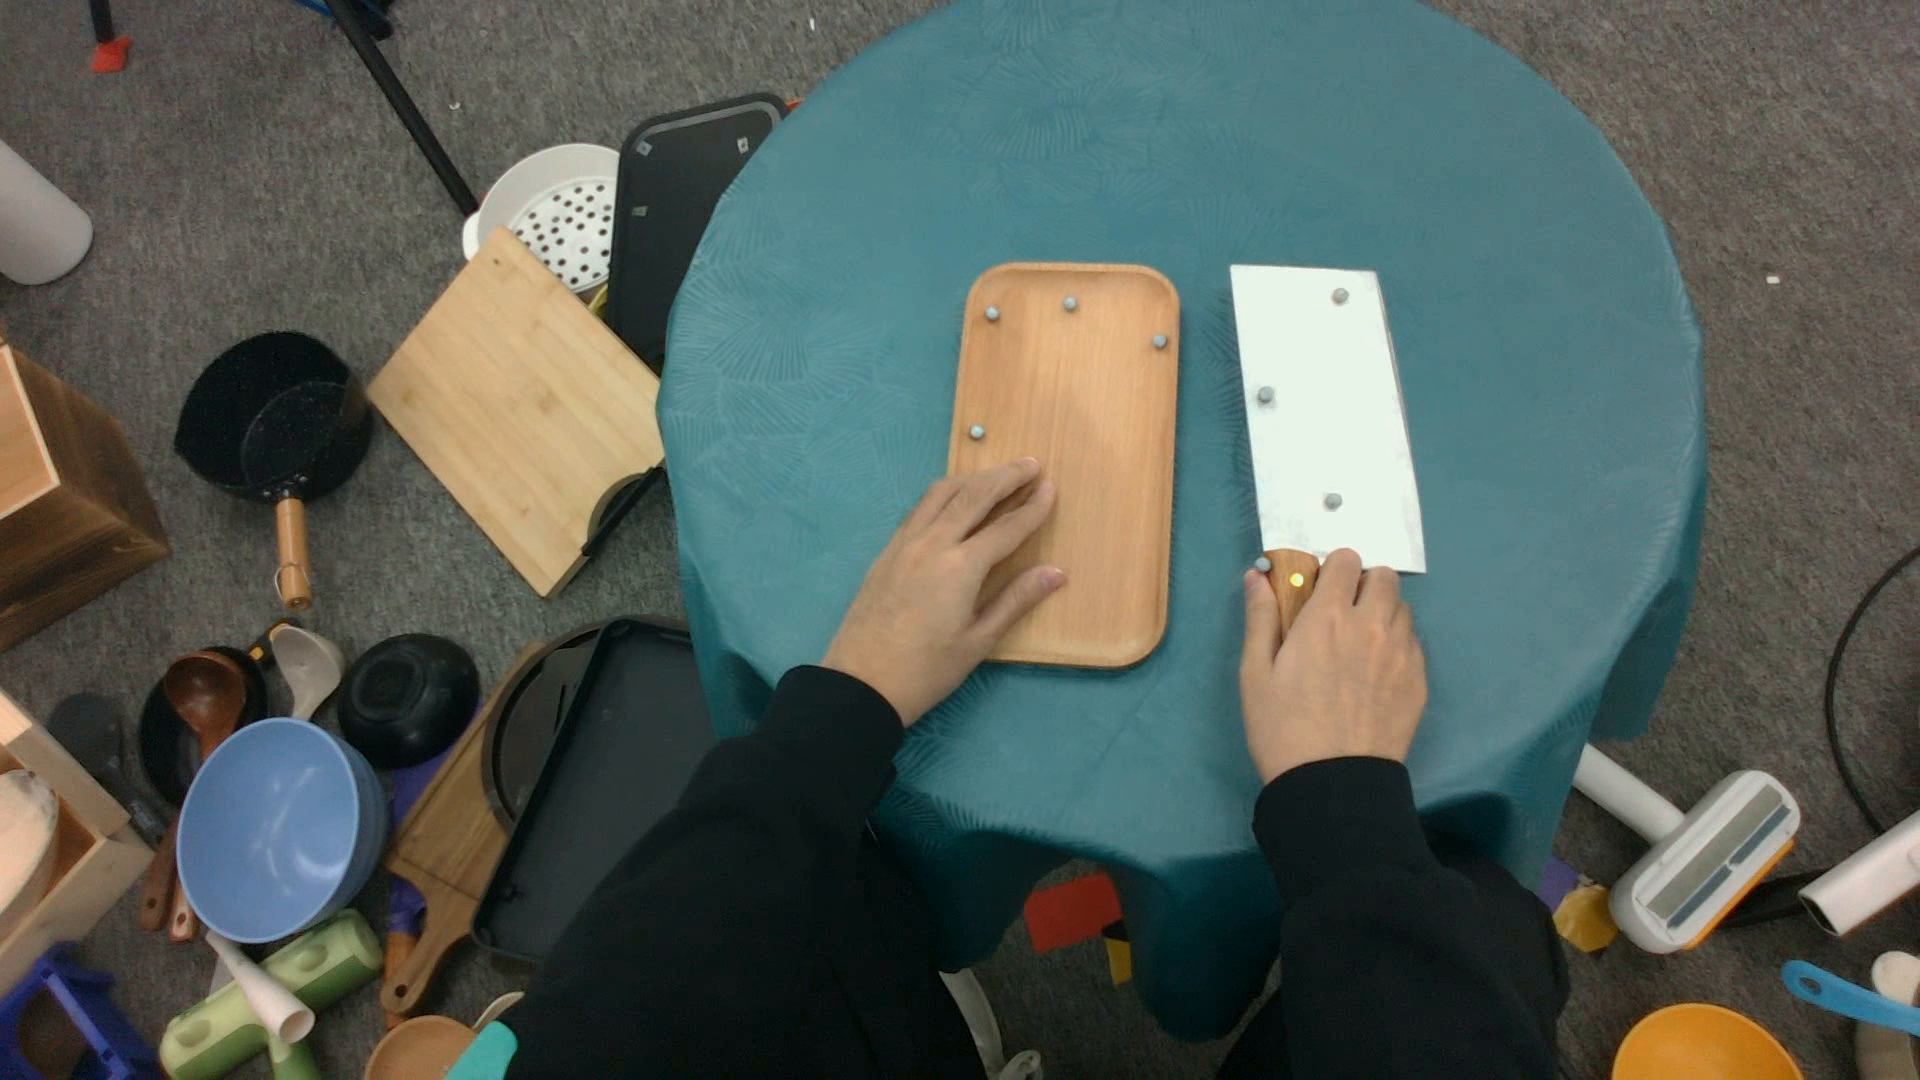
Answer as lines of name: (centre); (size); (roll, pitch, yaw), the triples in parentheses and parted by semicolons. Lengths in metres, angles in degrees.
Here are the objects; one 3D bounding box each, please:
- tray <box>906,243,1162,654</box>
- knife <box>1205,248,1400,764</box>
tray: (0.045, -0.057, 0.776); (0.130, 0.023, 0.251); (3, 68, 9)
knife: (0.190, -0.030, 0.744); (0.093, 0.021, 0.307); (3, 66, -11)
